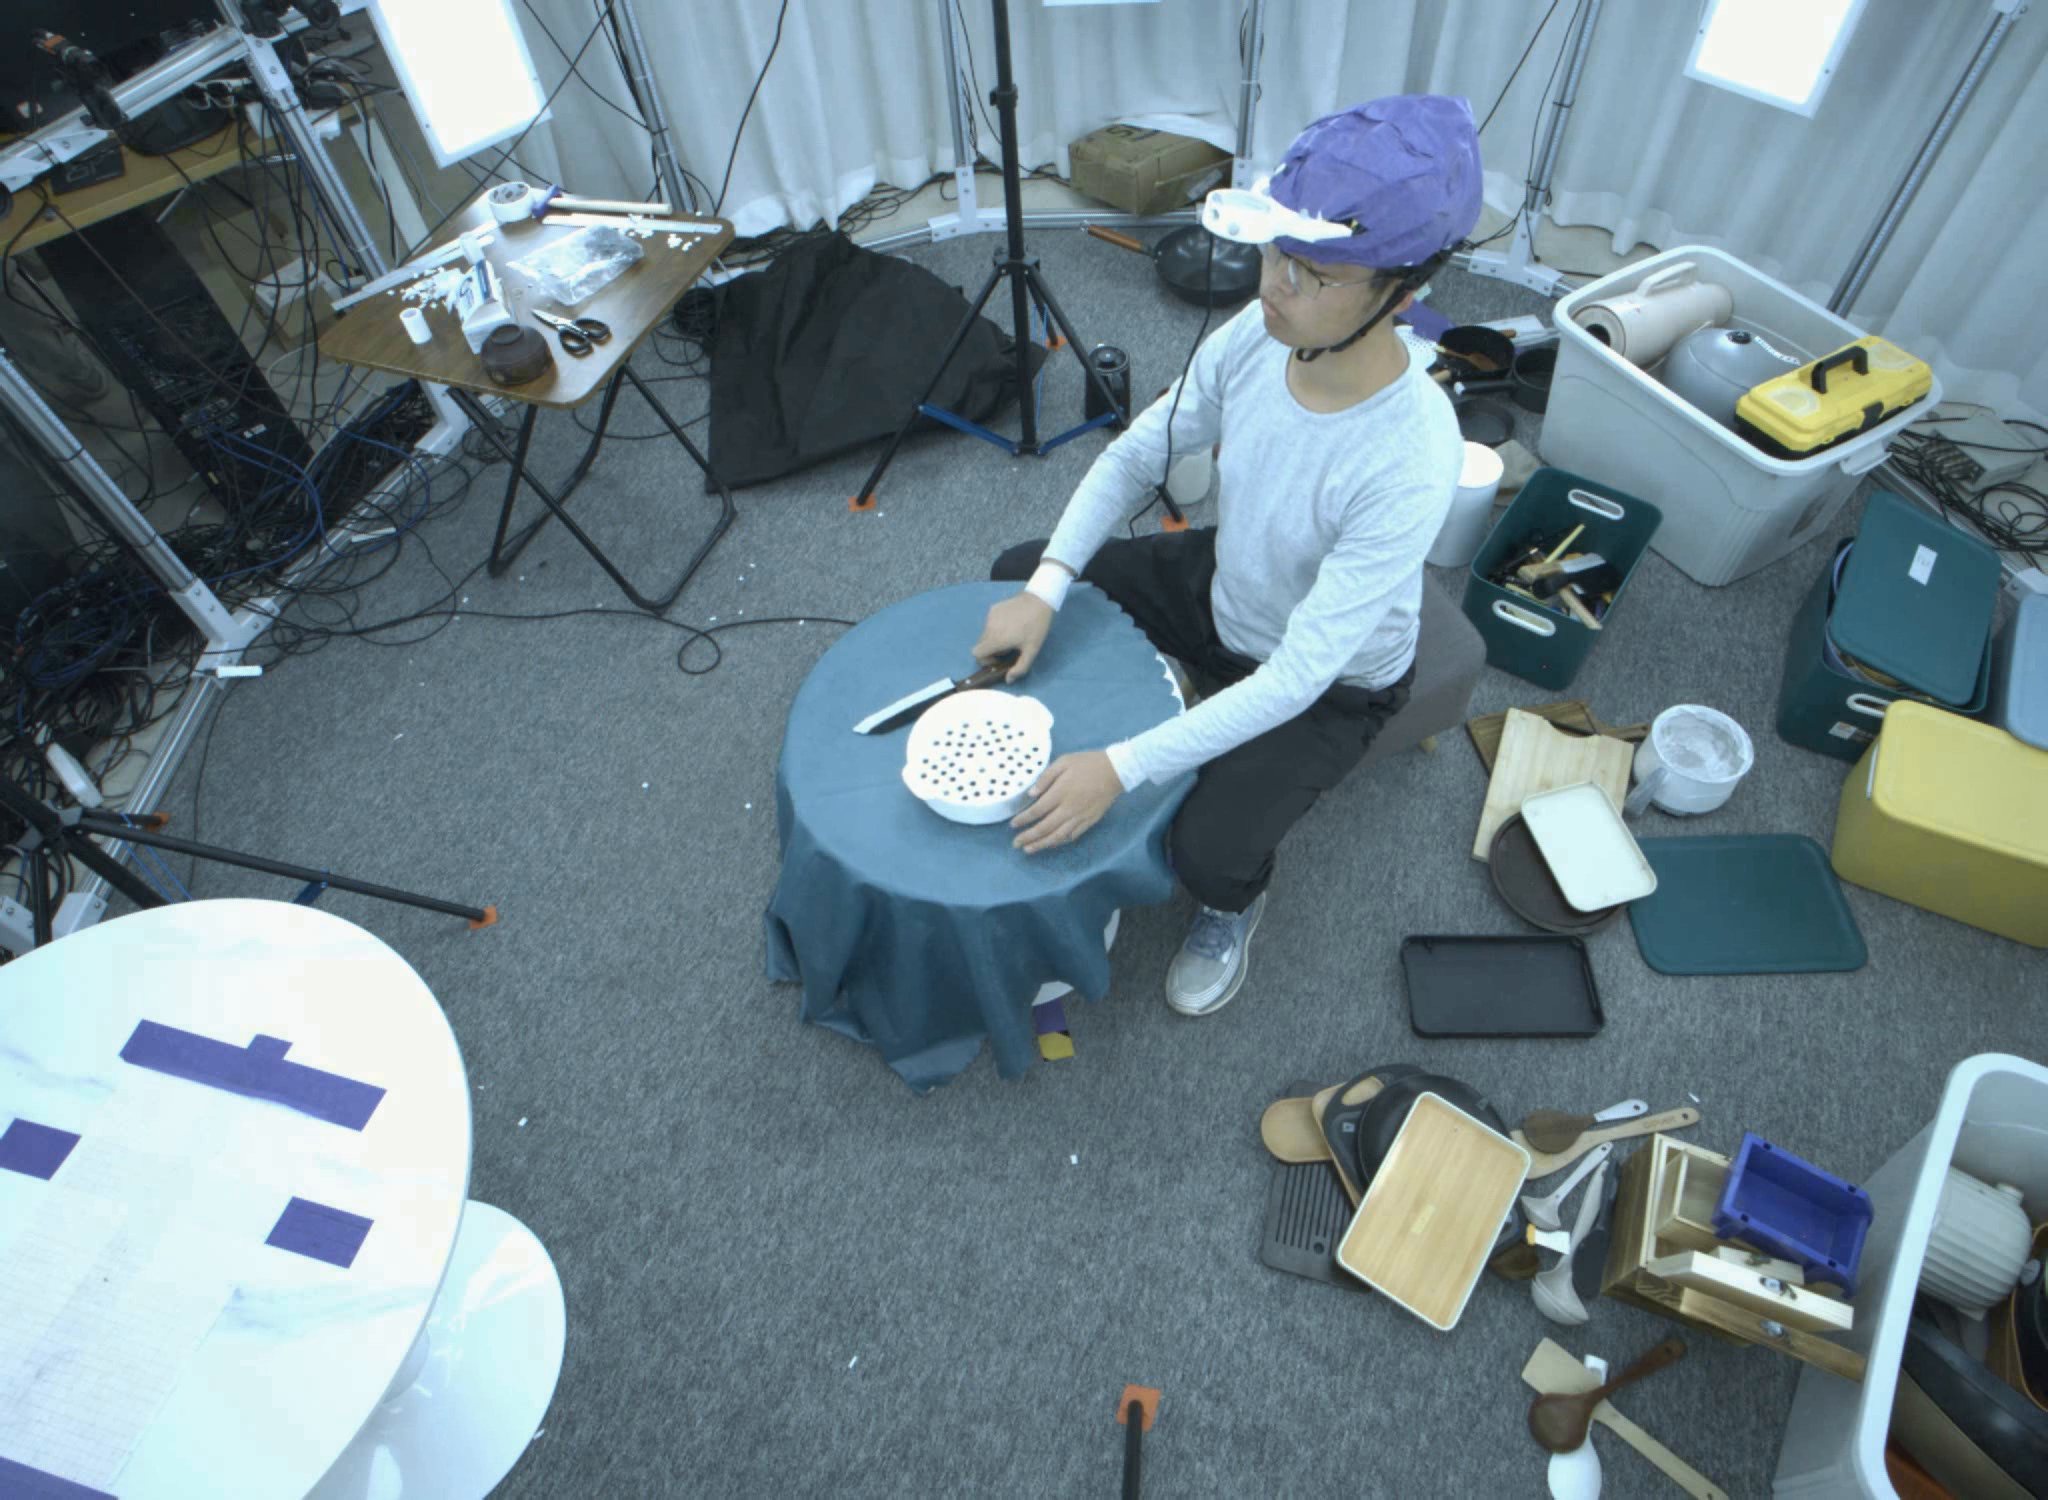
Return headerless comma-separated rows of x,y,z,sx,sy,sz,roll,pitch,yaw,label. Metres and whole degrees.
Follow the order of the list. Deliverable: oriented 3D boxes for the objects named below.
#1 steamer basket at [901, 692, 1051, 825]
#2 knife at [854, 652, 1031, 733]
-0.066,0.014,1.745,0.232,0.070,0.198,-31,60,-20,steamer basket
-0.123,-0.085,1.850,0.291,0.020,0.049,-23,51,-13,knife
